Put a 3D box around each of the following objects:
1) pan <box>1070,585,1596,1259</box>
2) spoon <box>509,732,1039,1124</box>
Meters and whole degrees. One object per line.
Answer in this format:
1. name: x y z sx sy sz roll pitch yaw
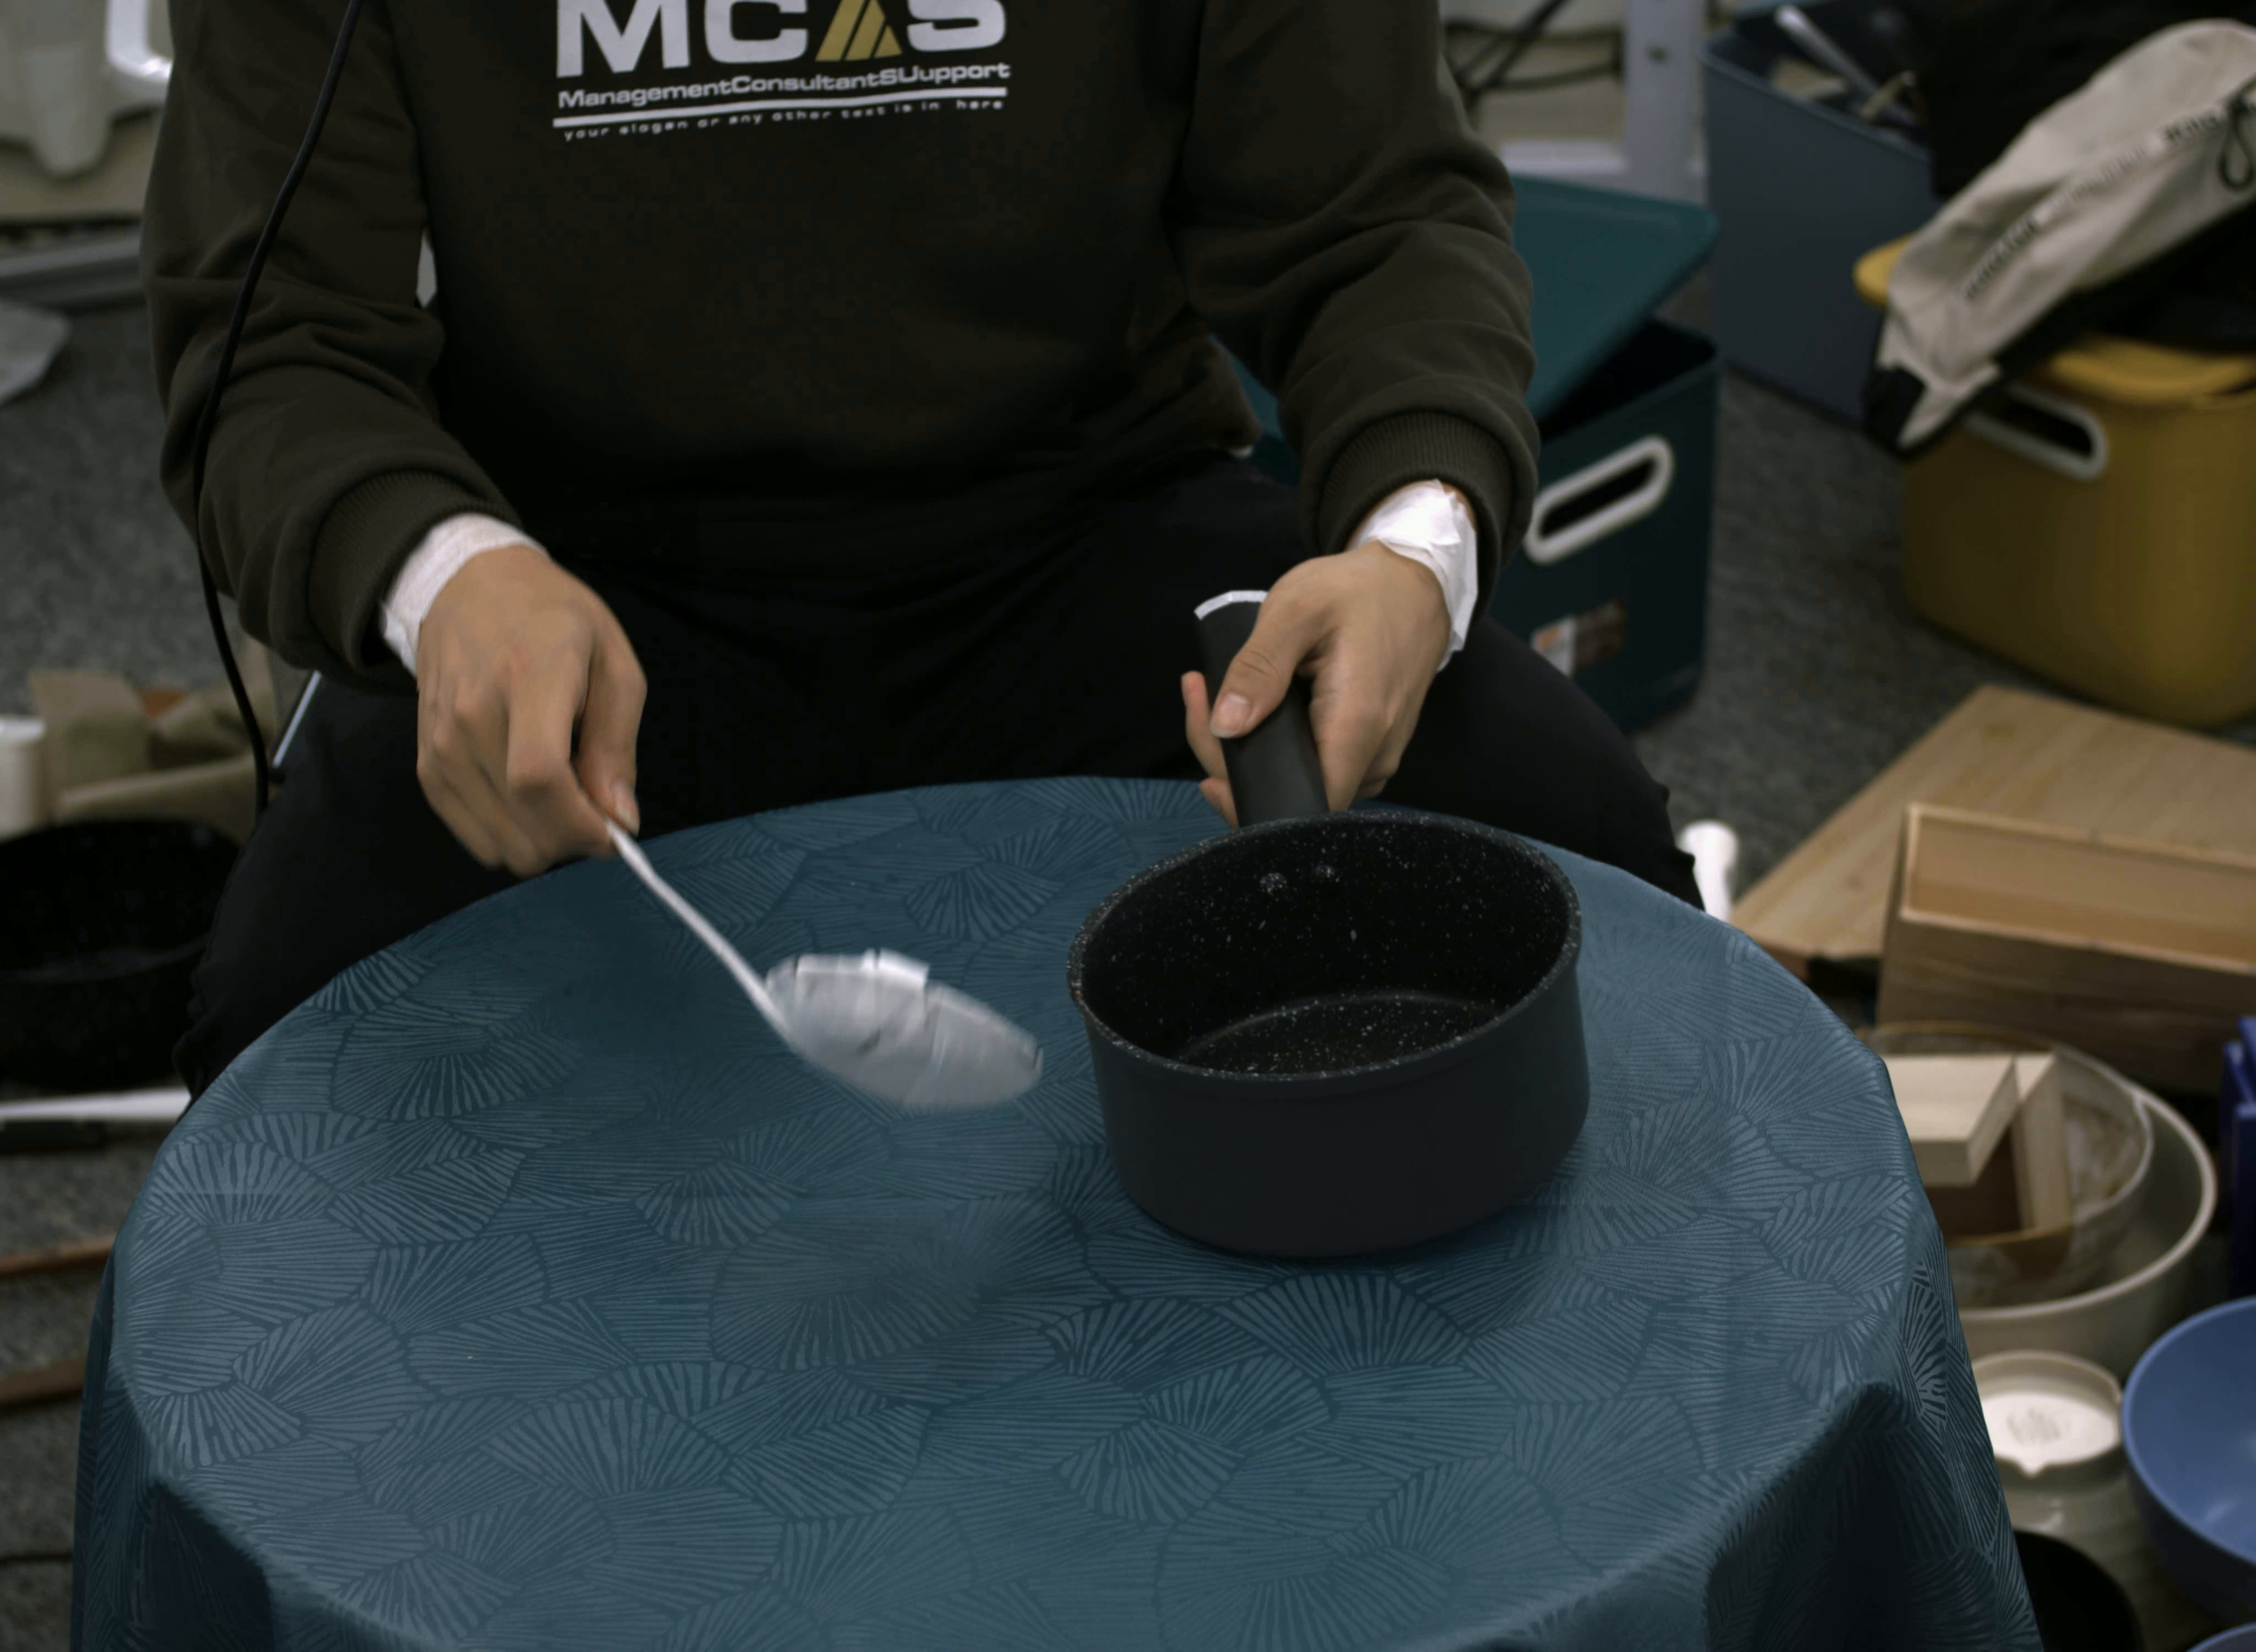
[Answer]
1. pan: 0.065 0.029 1.931 0.171 0.085 0.334 -7 29 0
2. spoon: -0.122 0.022 1.856 0.059 0.100 0.279 -43 44 -2
